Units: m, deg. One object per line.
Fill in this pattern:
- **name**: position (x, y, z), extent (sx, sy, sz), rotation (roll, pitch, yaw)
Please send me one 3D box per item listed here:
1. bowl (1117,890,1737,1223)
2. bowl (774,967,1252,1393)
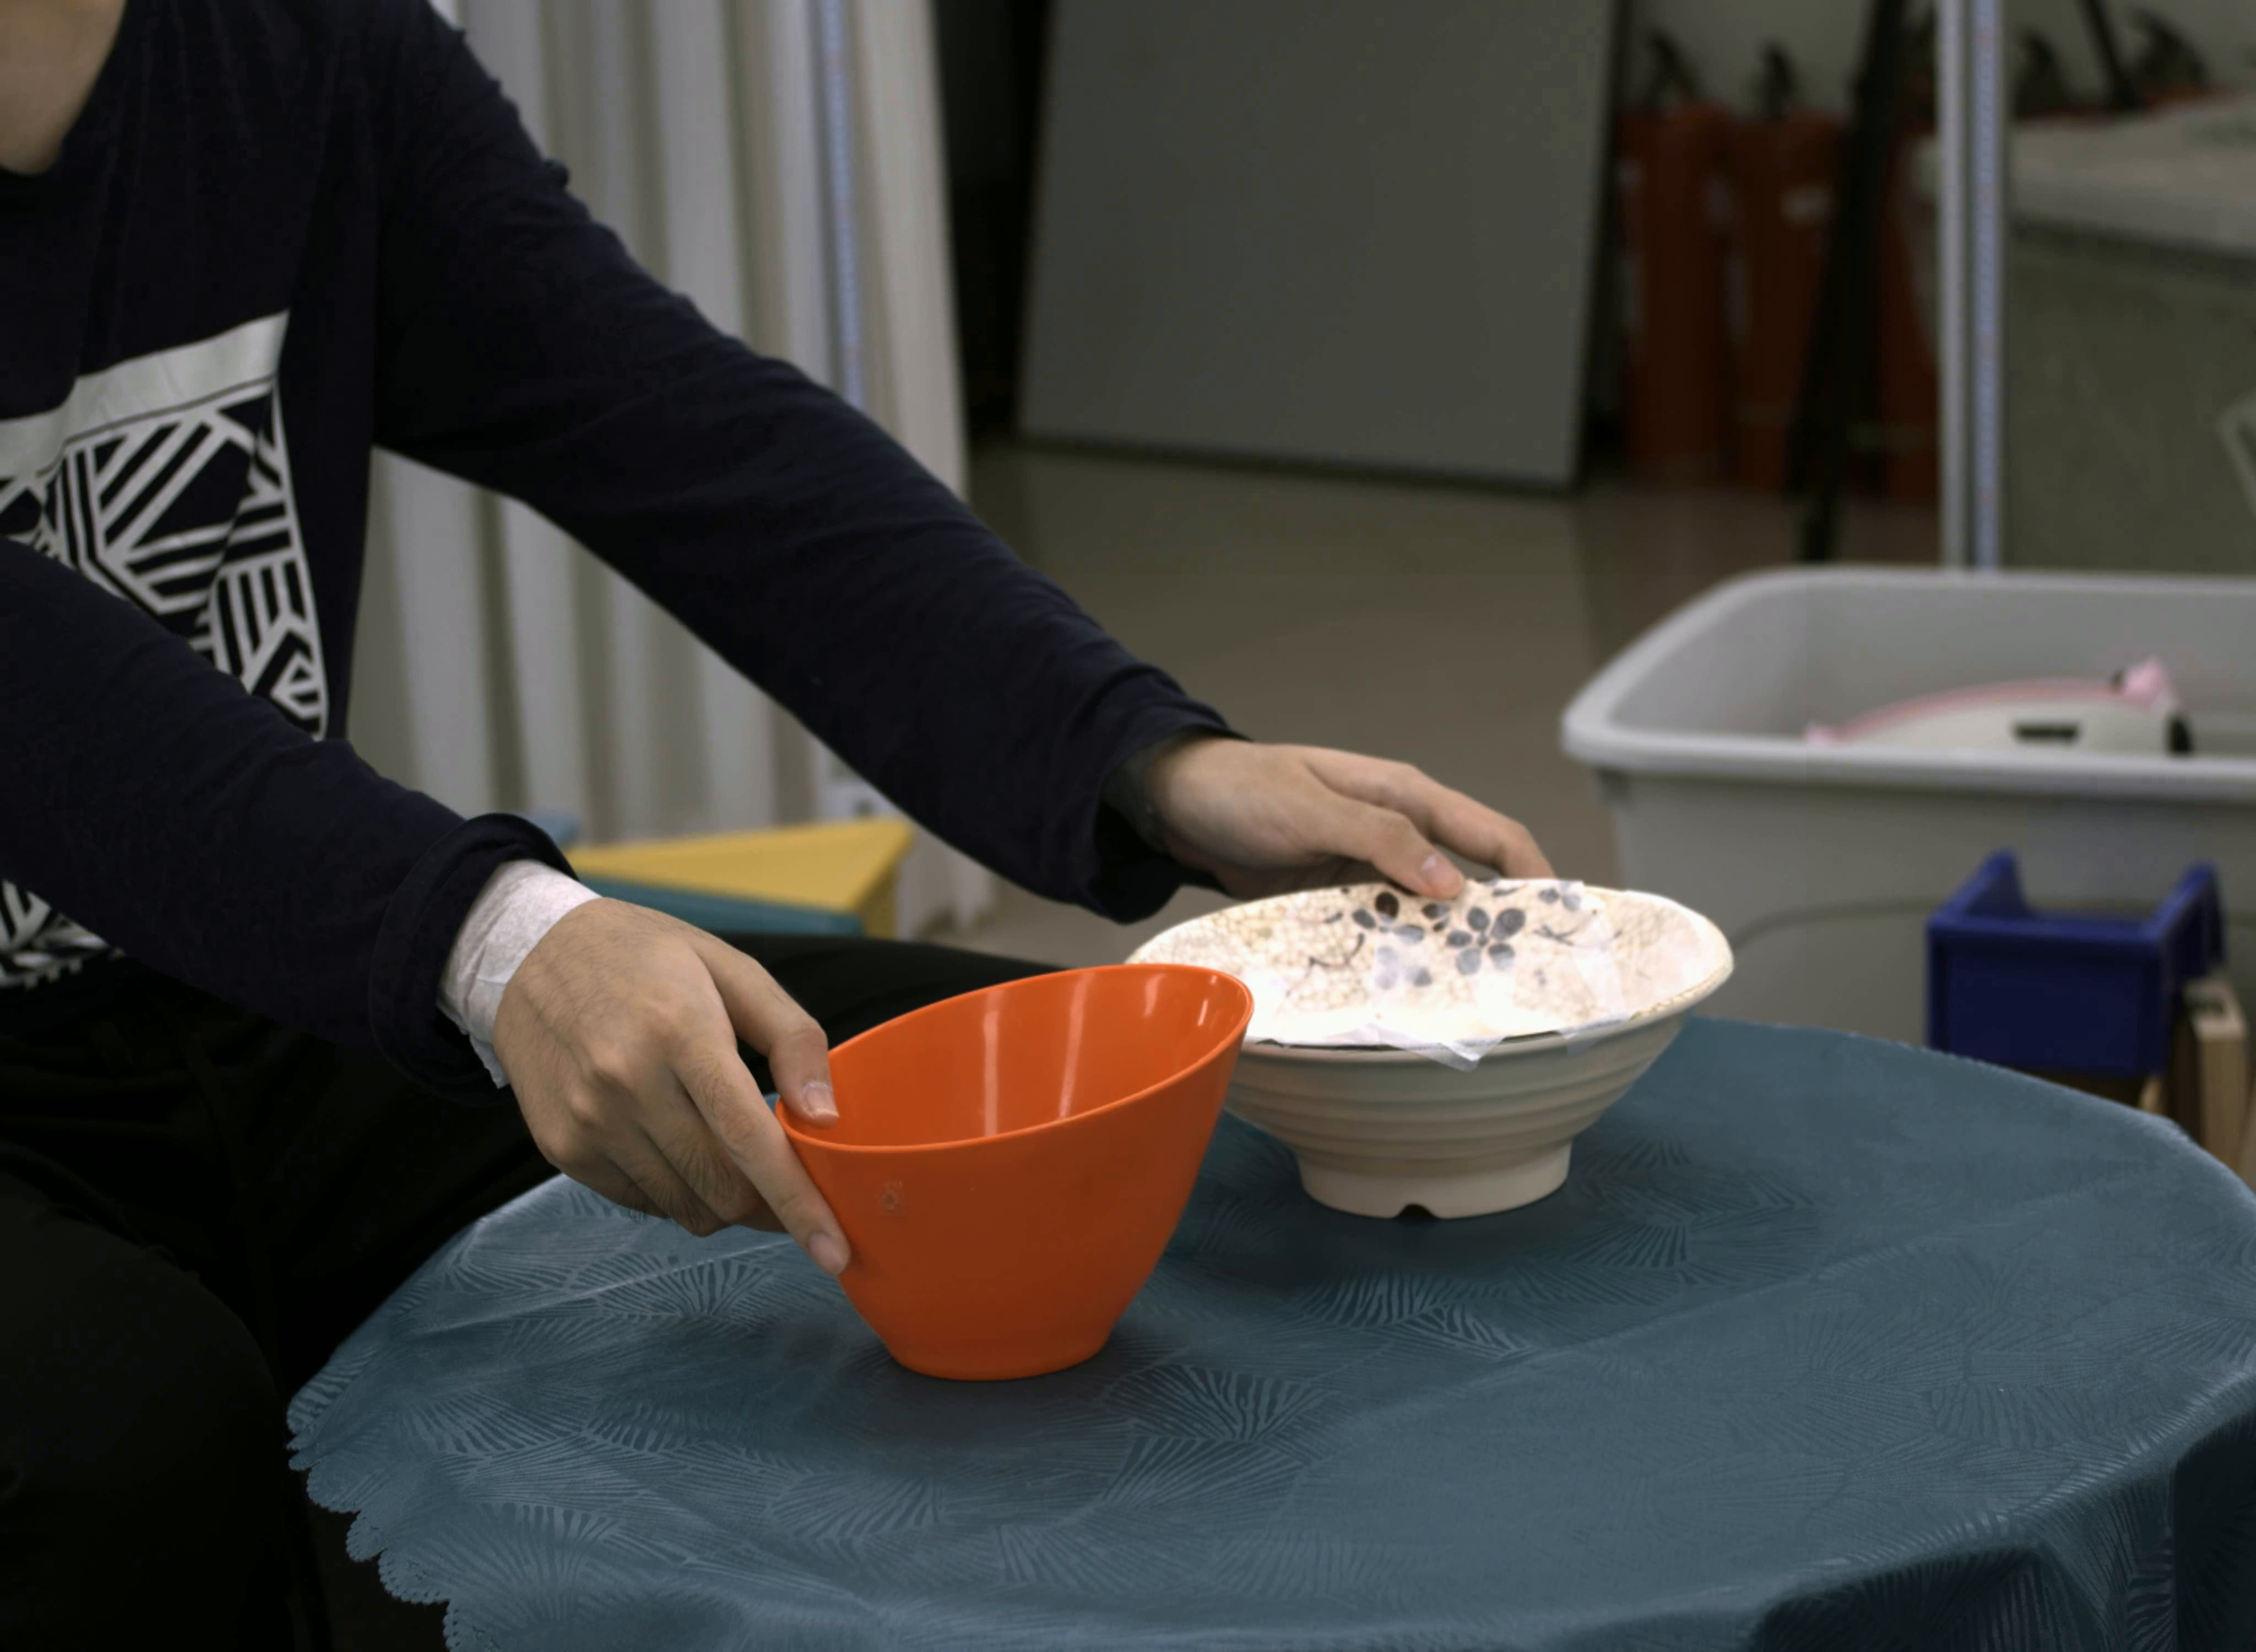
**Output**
- **bowl**: position (0.099, 0.080, 1.752), extent (0.201, 0.079, 0.204), rotation (-4, 12, 0)
- **bowl**: position (-0.031, 0.109, 1.624), extent (0.146, 0.106, 0.148), rotation (-5, 13, 0)
